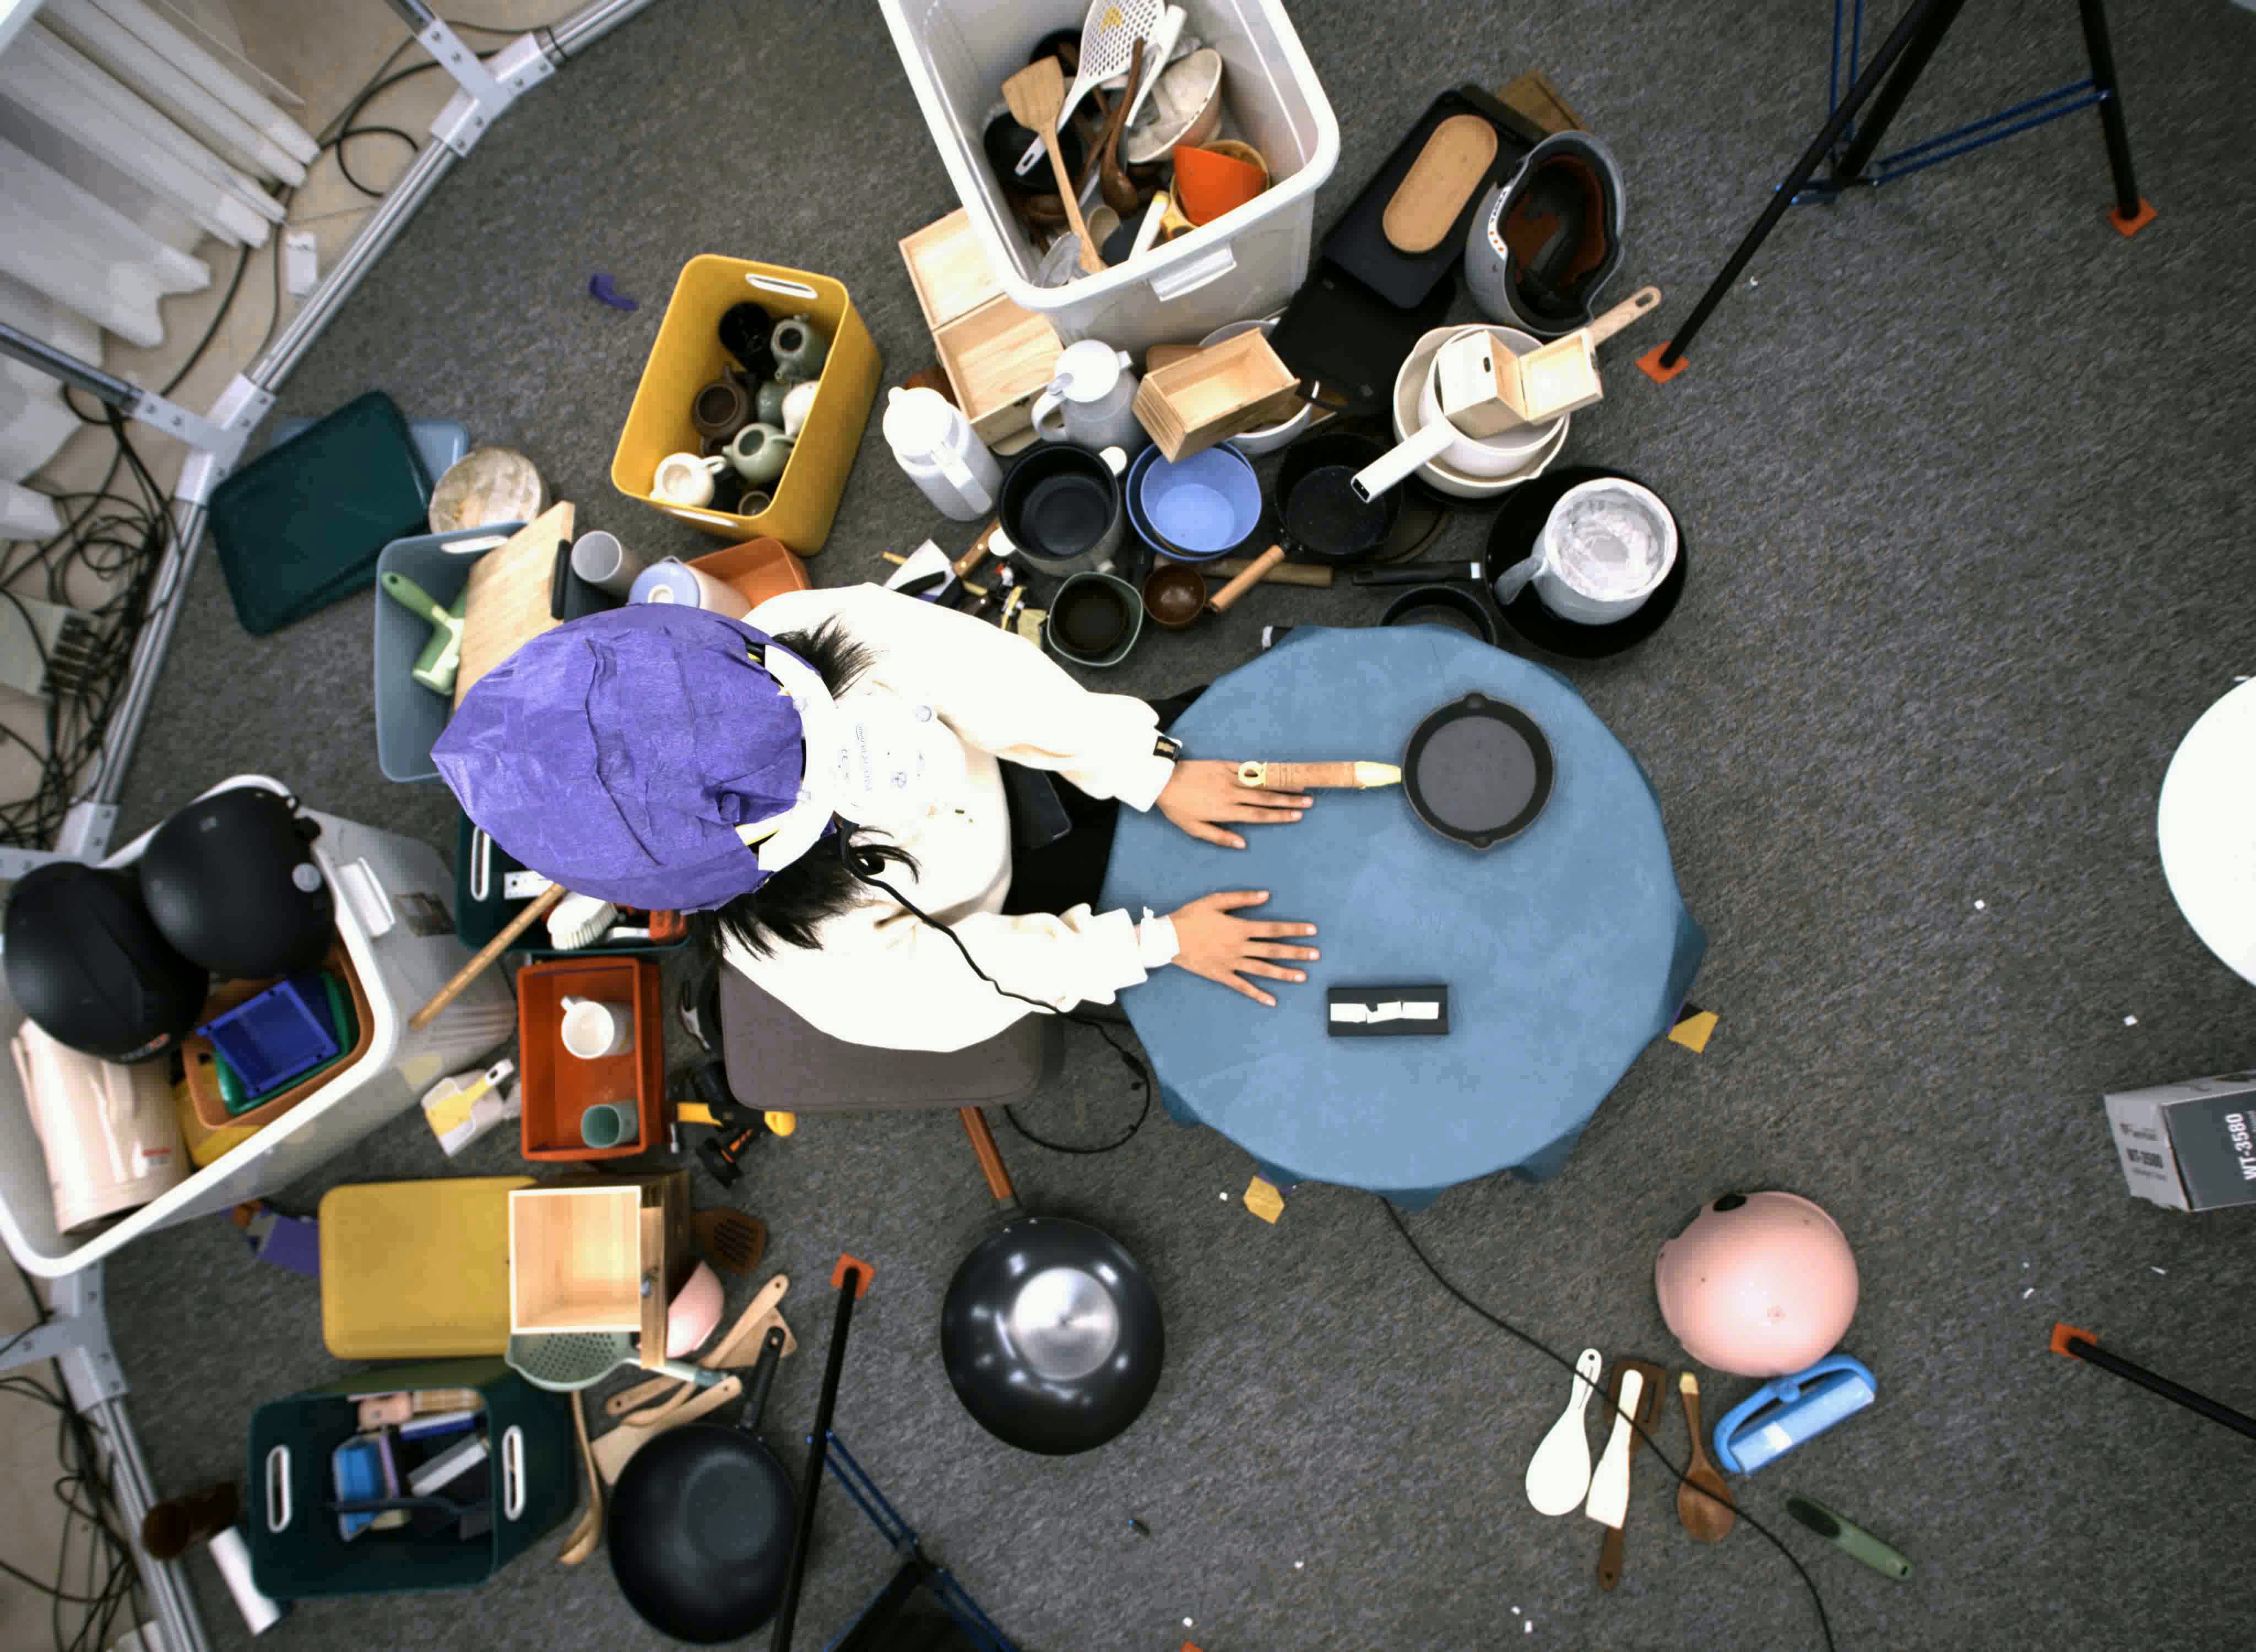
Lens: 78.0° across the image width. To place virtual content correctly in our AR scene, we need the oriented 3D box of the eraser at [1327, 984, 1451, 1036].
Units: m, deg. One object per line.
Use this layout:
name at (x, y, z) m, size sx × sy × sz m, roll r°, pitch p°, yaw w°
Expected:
eraser at (0.272, 0.190, 1.440) m, size 0.126 × 0.030 × 0.053 m, roll -2°, pitch 85°, yaw 12°

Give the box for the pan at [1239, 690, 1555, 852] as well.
pan at (0.279, -0.058, 1.440) m, size 0.325 × 0.049 × 0.168 m, roll 0°, pitch 88°, yaw 10°
